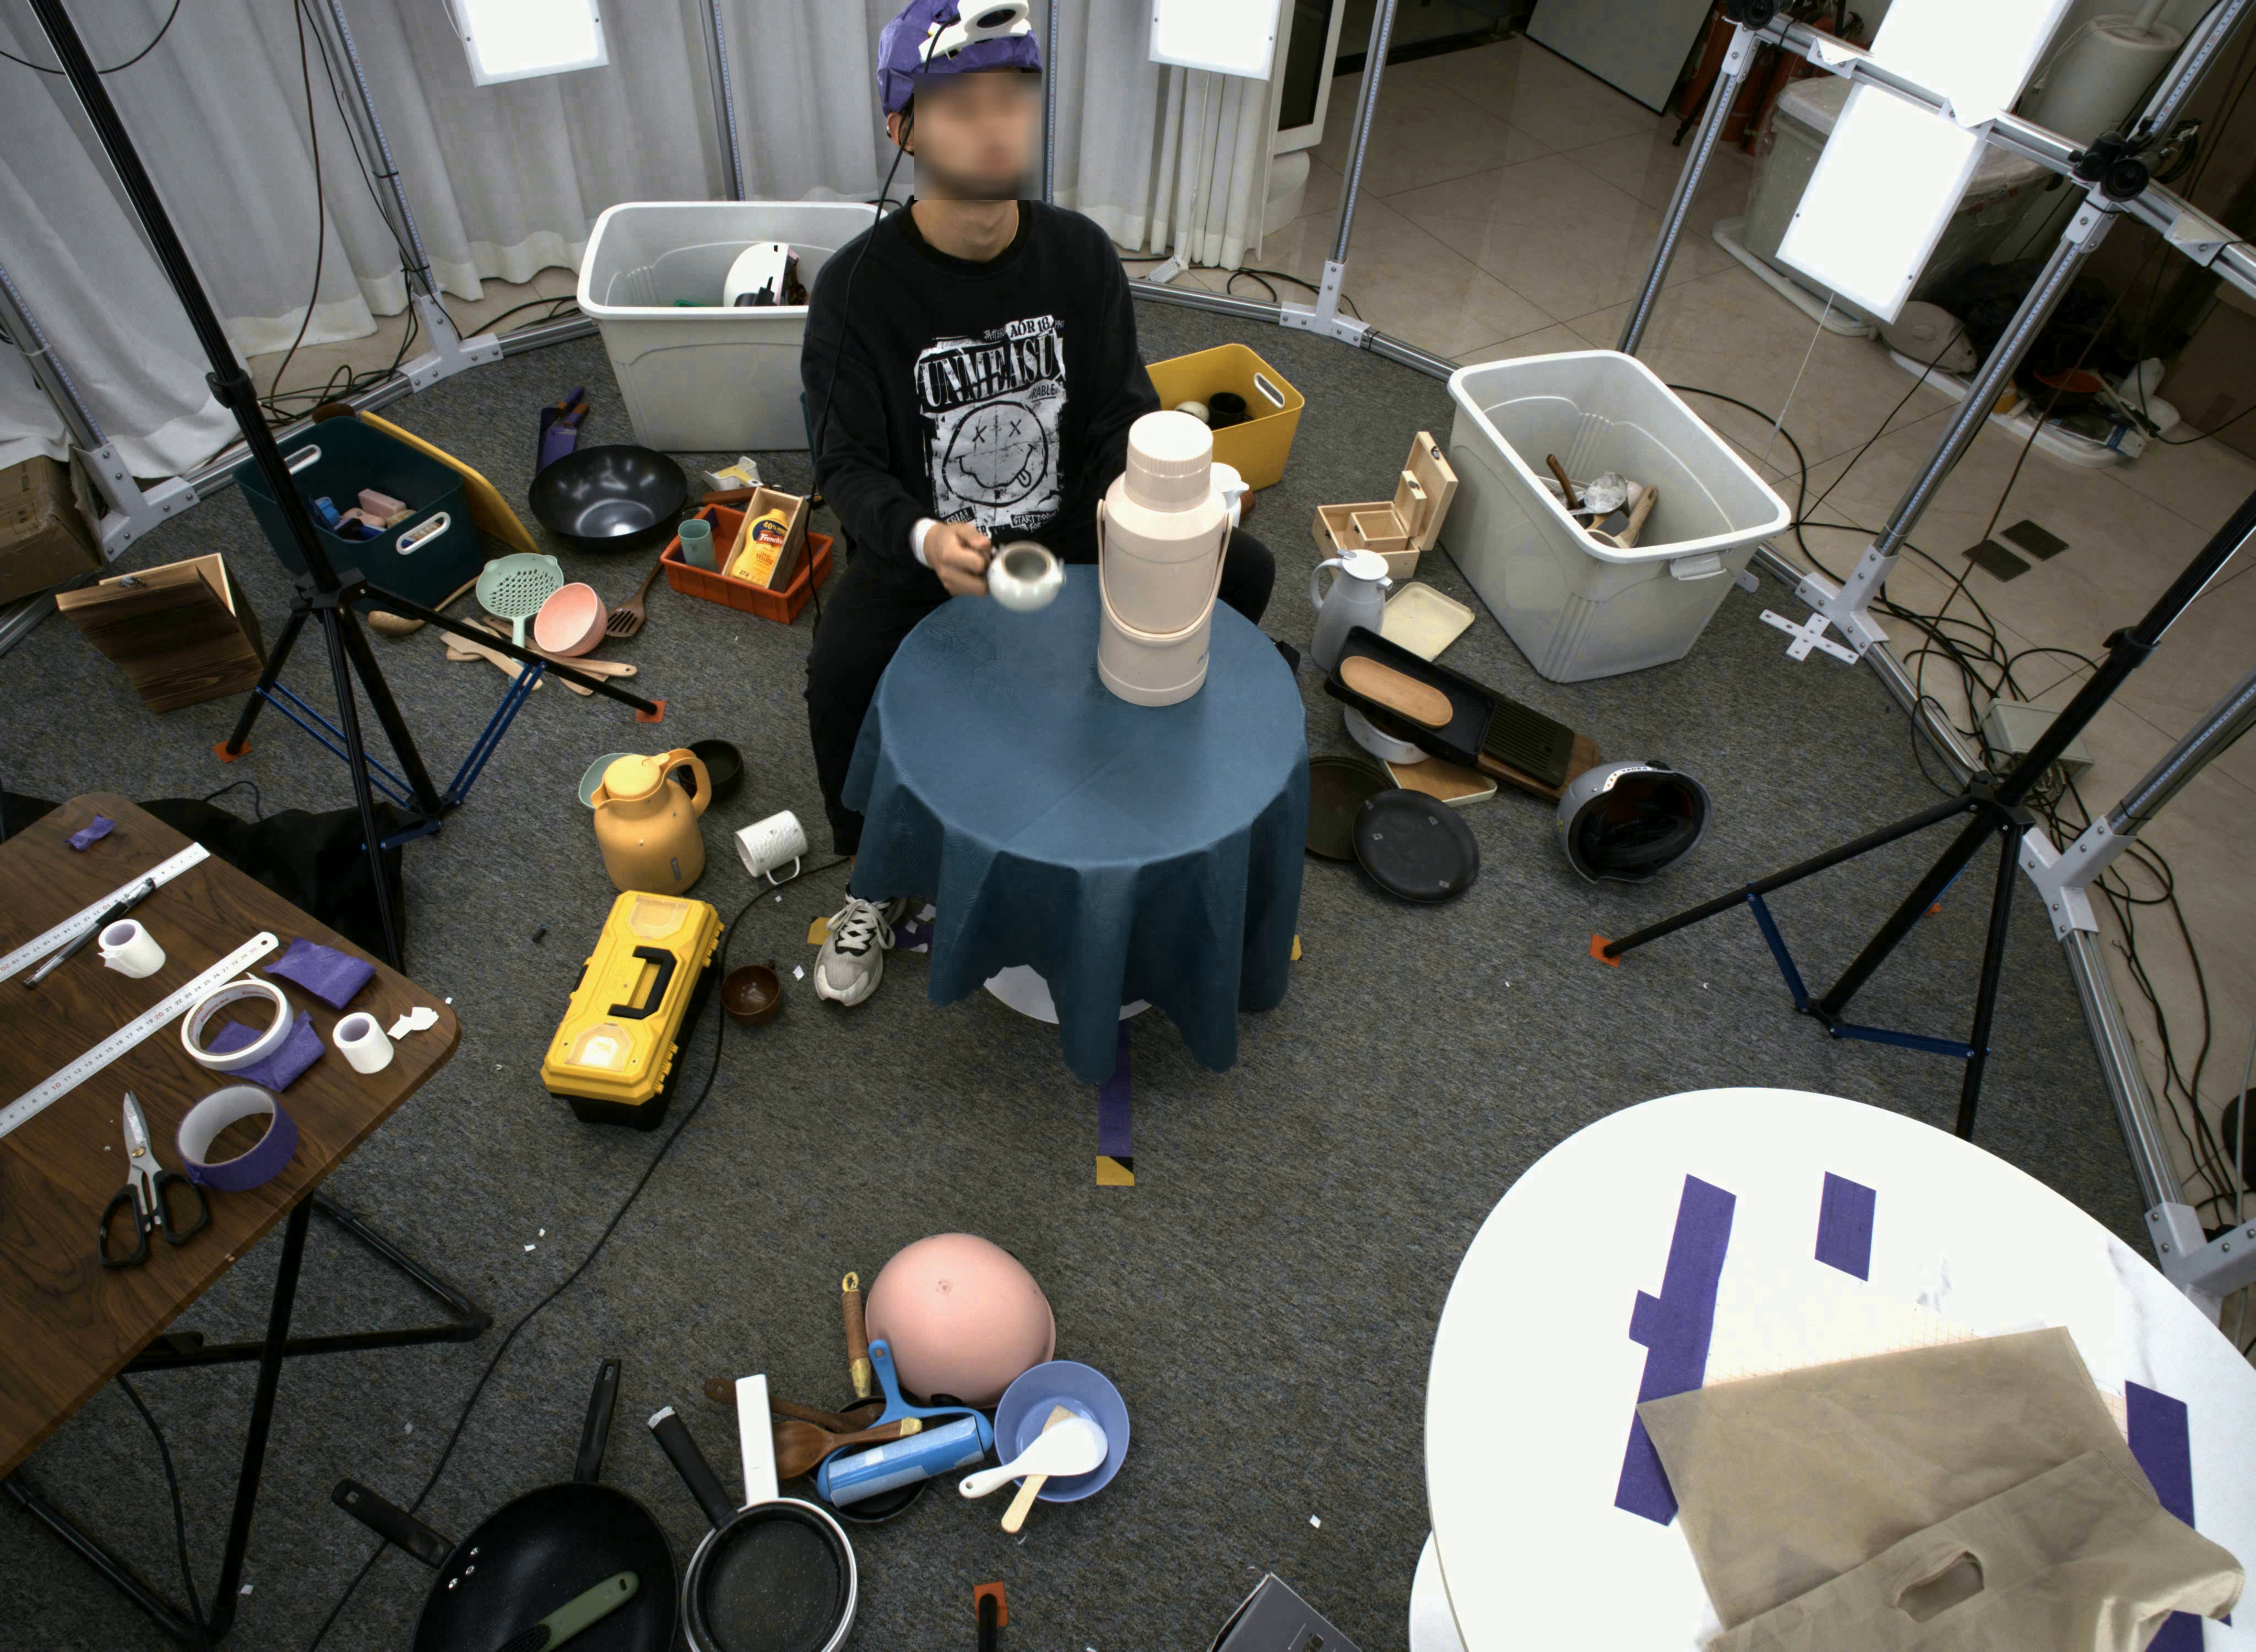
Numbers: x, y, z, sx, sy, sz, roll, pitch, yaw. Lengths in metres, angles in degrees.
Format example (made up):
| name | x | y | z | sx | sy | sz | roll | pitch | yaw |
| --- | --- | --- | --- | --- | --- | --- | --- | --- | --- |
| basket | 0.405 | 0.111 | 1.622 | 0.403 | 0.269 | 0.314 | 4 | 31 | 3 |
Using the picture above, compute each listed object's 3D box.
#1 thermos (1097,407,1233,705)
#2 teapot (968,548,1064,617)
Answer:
| name | x | y | z | sx | sy | sz | roll | pitch | yaw |
| --- | --- | --- | --- | --- | --- | --- | --- | --- | --- |
| thermos | 0.048 | -0.366 | 1.733 | 0.175 | 0.396 | 0.212 | 4 | 50 | 3 |
| teapot | -0.140 | -0.306 | 1.601 | 0.128 | 0.058 | 0.093 | 22 | 59 | 6 |
